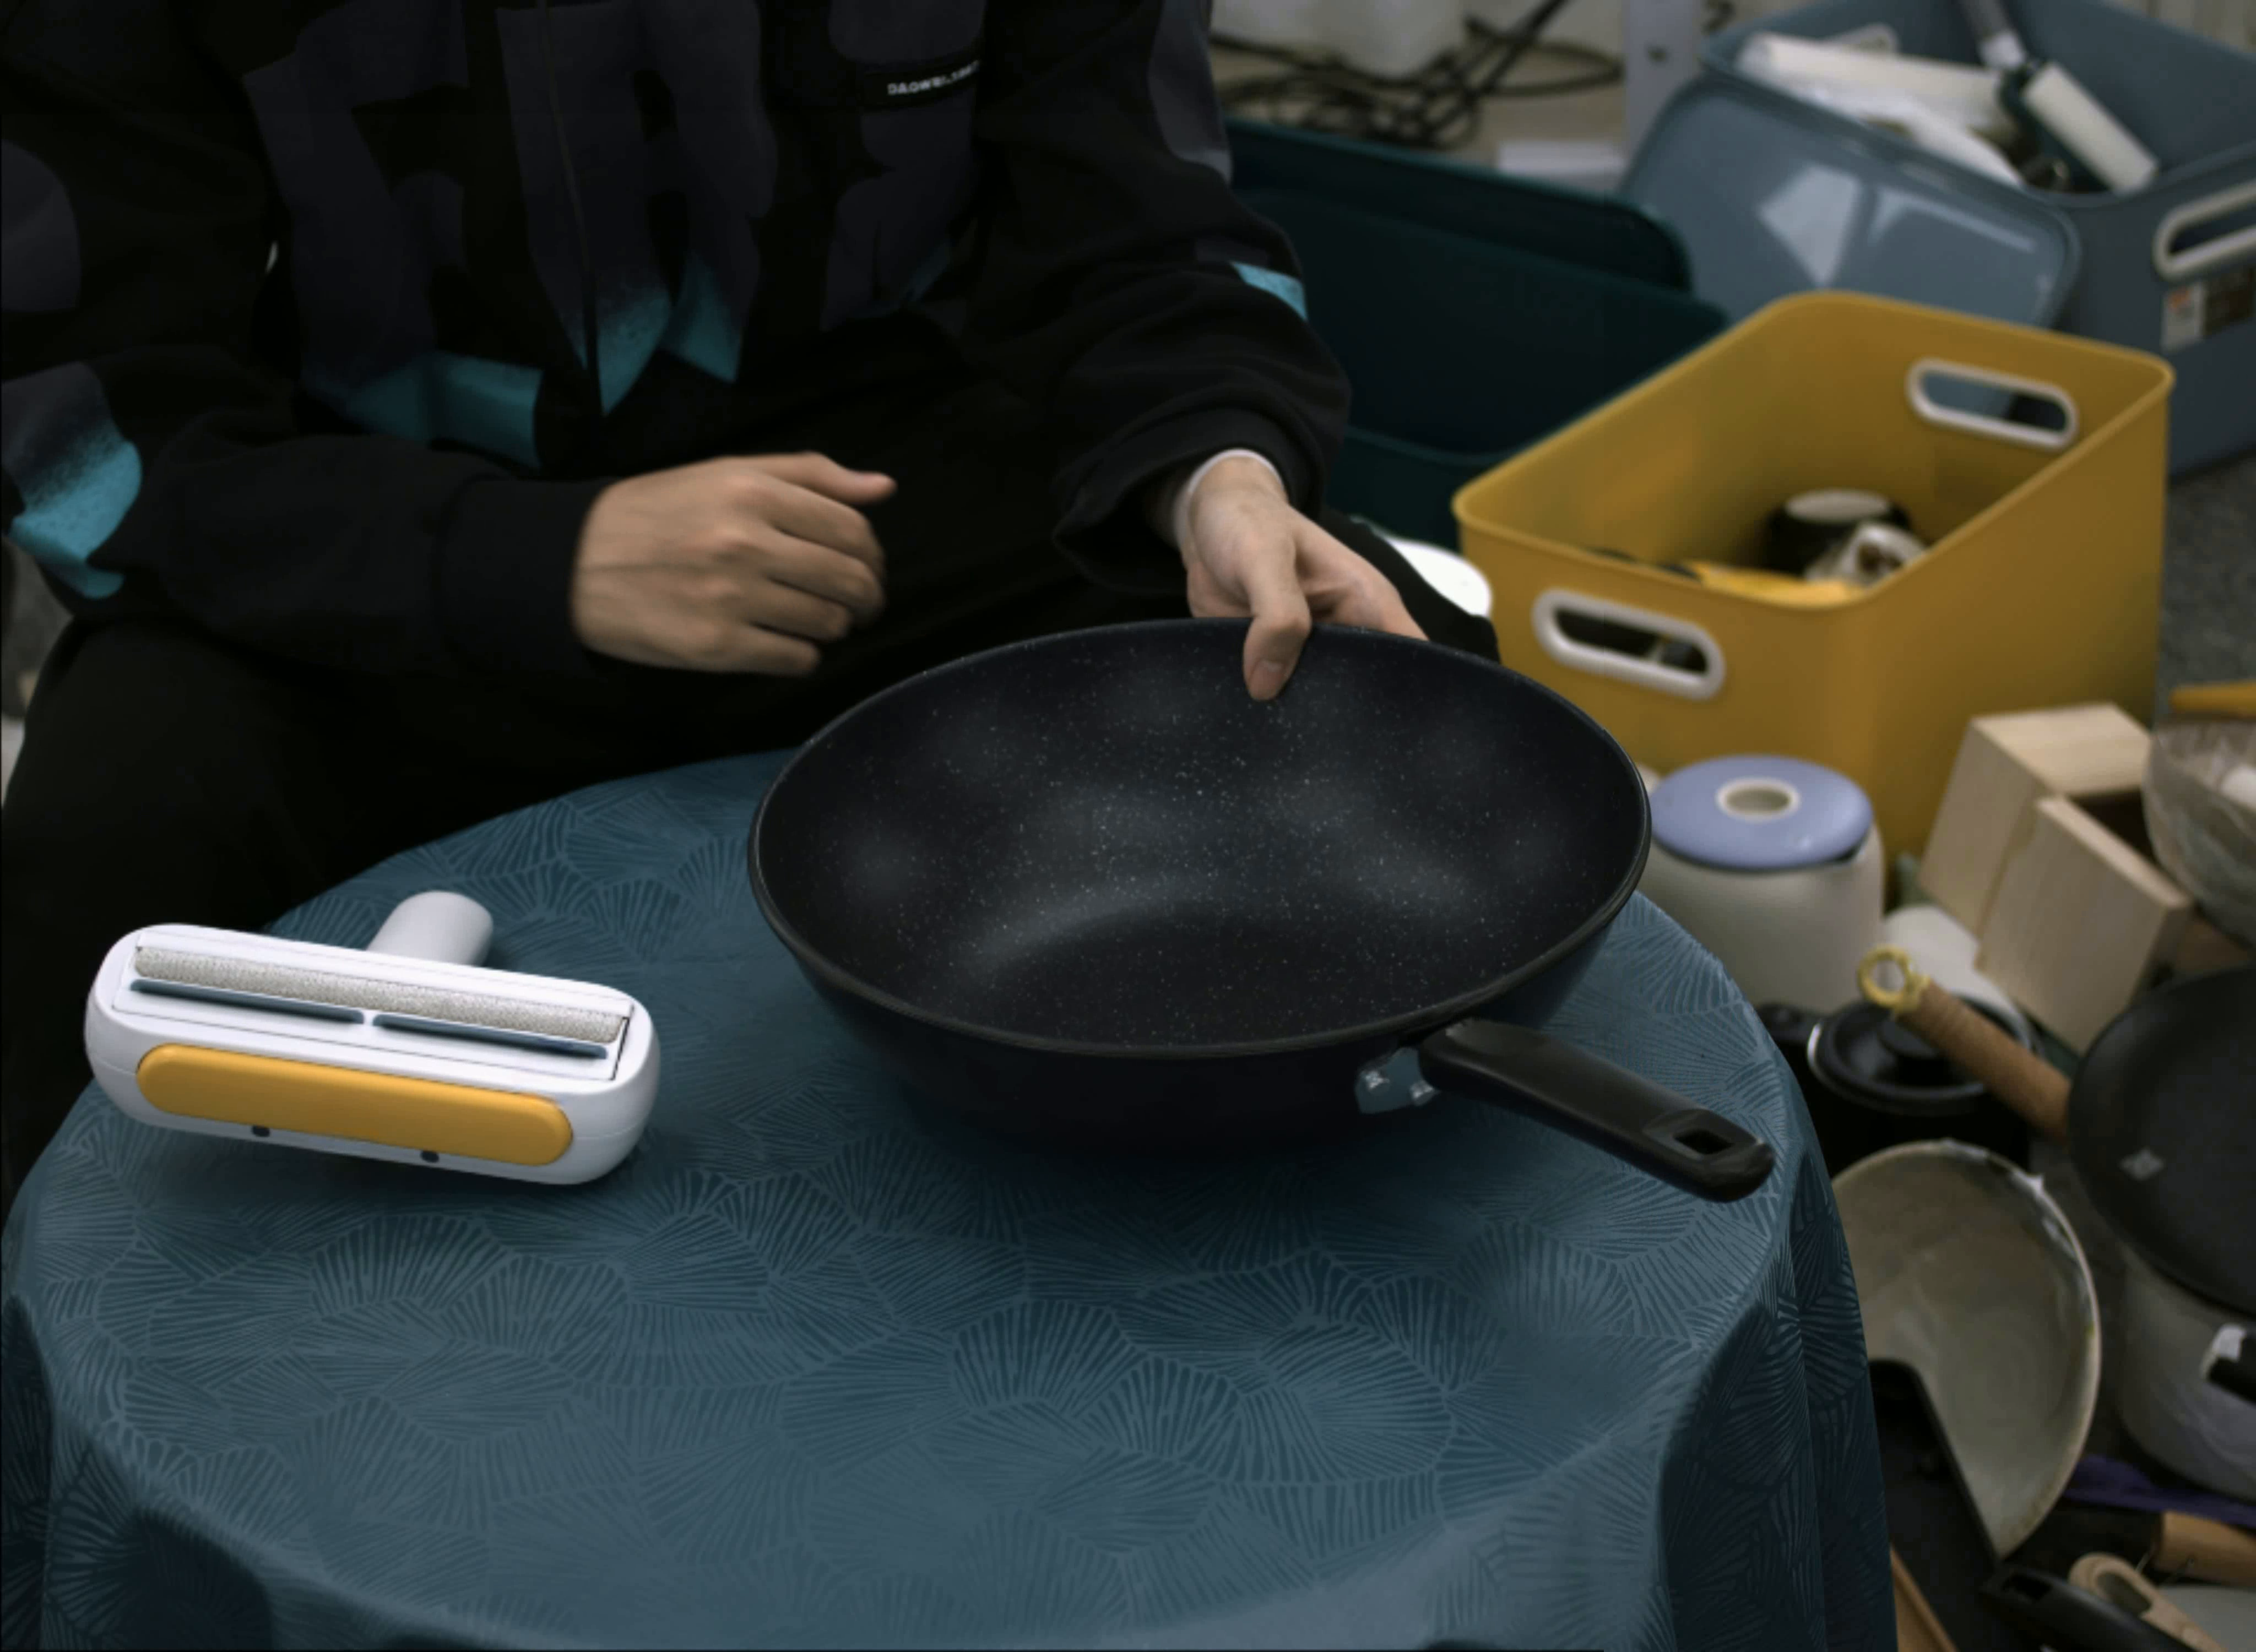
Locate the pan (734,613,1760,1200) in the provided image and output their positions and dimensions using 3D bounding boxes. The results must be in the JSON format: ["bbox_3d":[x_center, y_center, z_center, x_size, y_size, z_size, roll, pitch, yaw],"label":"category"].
[{"bbox_3d":[0.063,0.056,1.866,0.312,0.110,0.479,-19,31,-25],"label":"pan"}]

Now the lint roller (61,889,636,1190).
[{"bbox_3d":[-0.253,0.057,1.937,0.192,0.073,0.195,6,27,5],"label":"lint roller"}]
